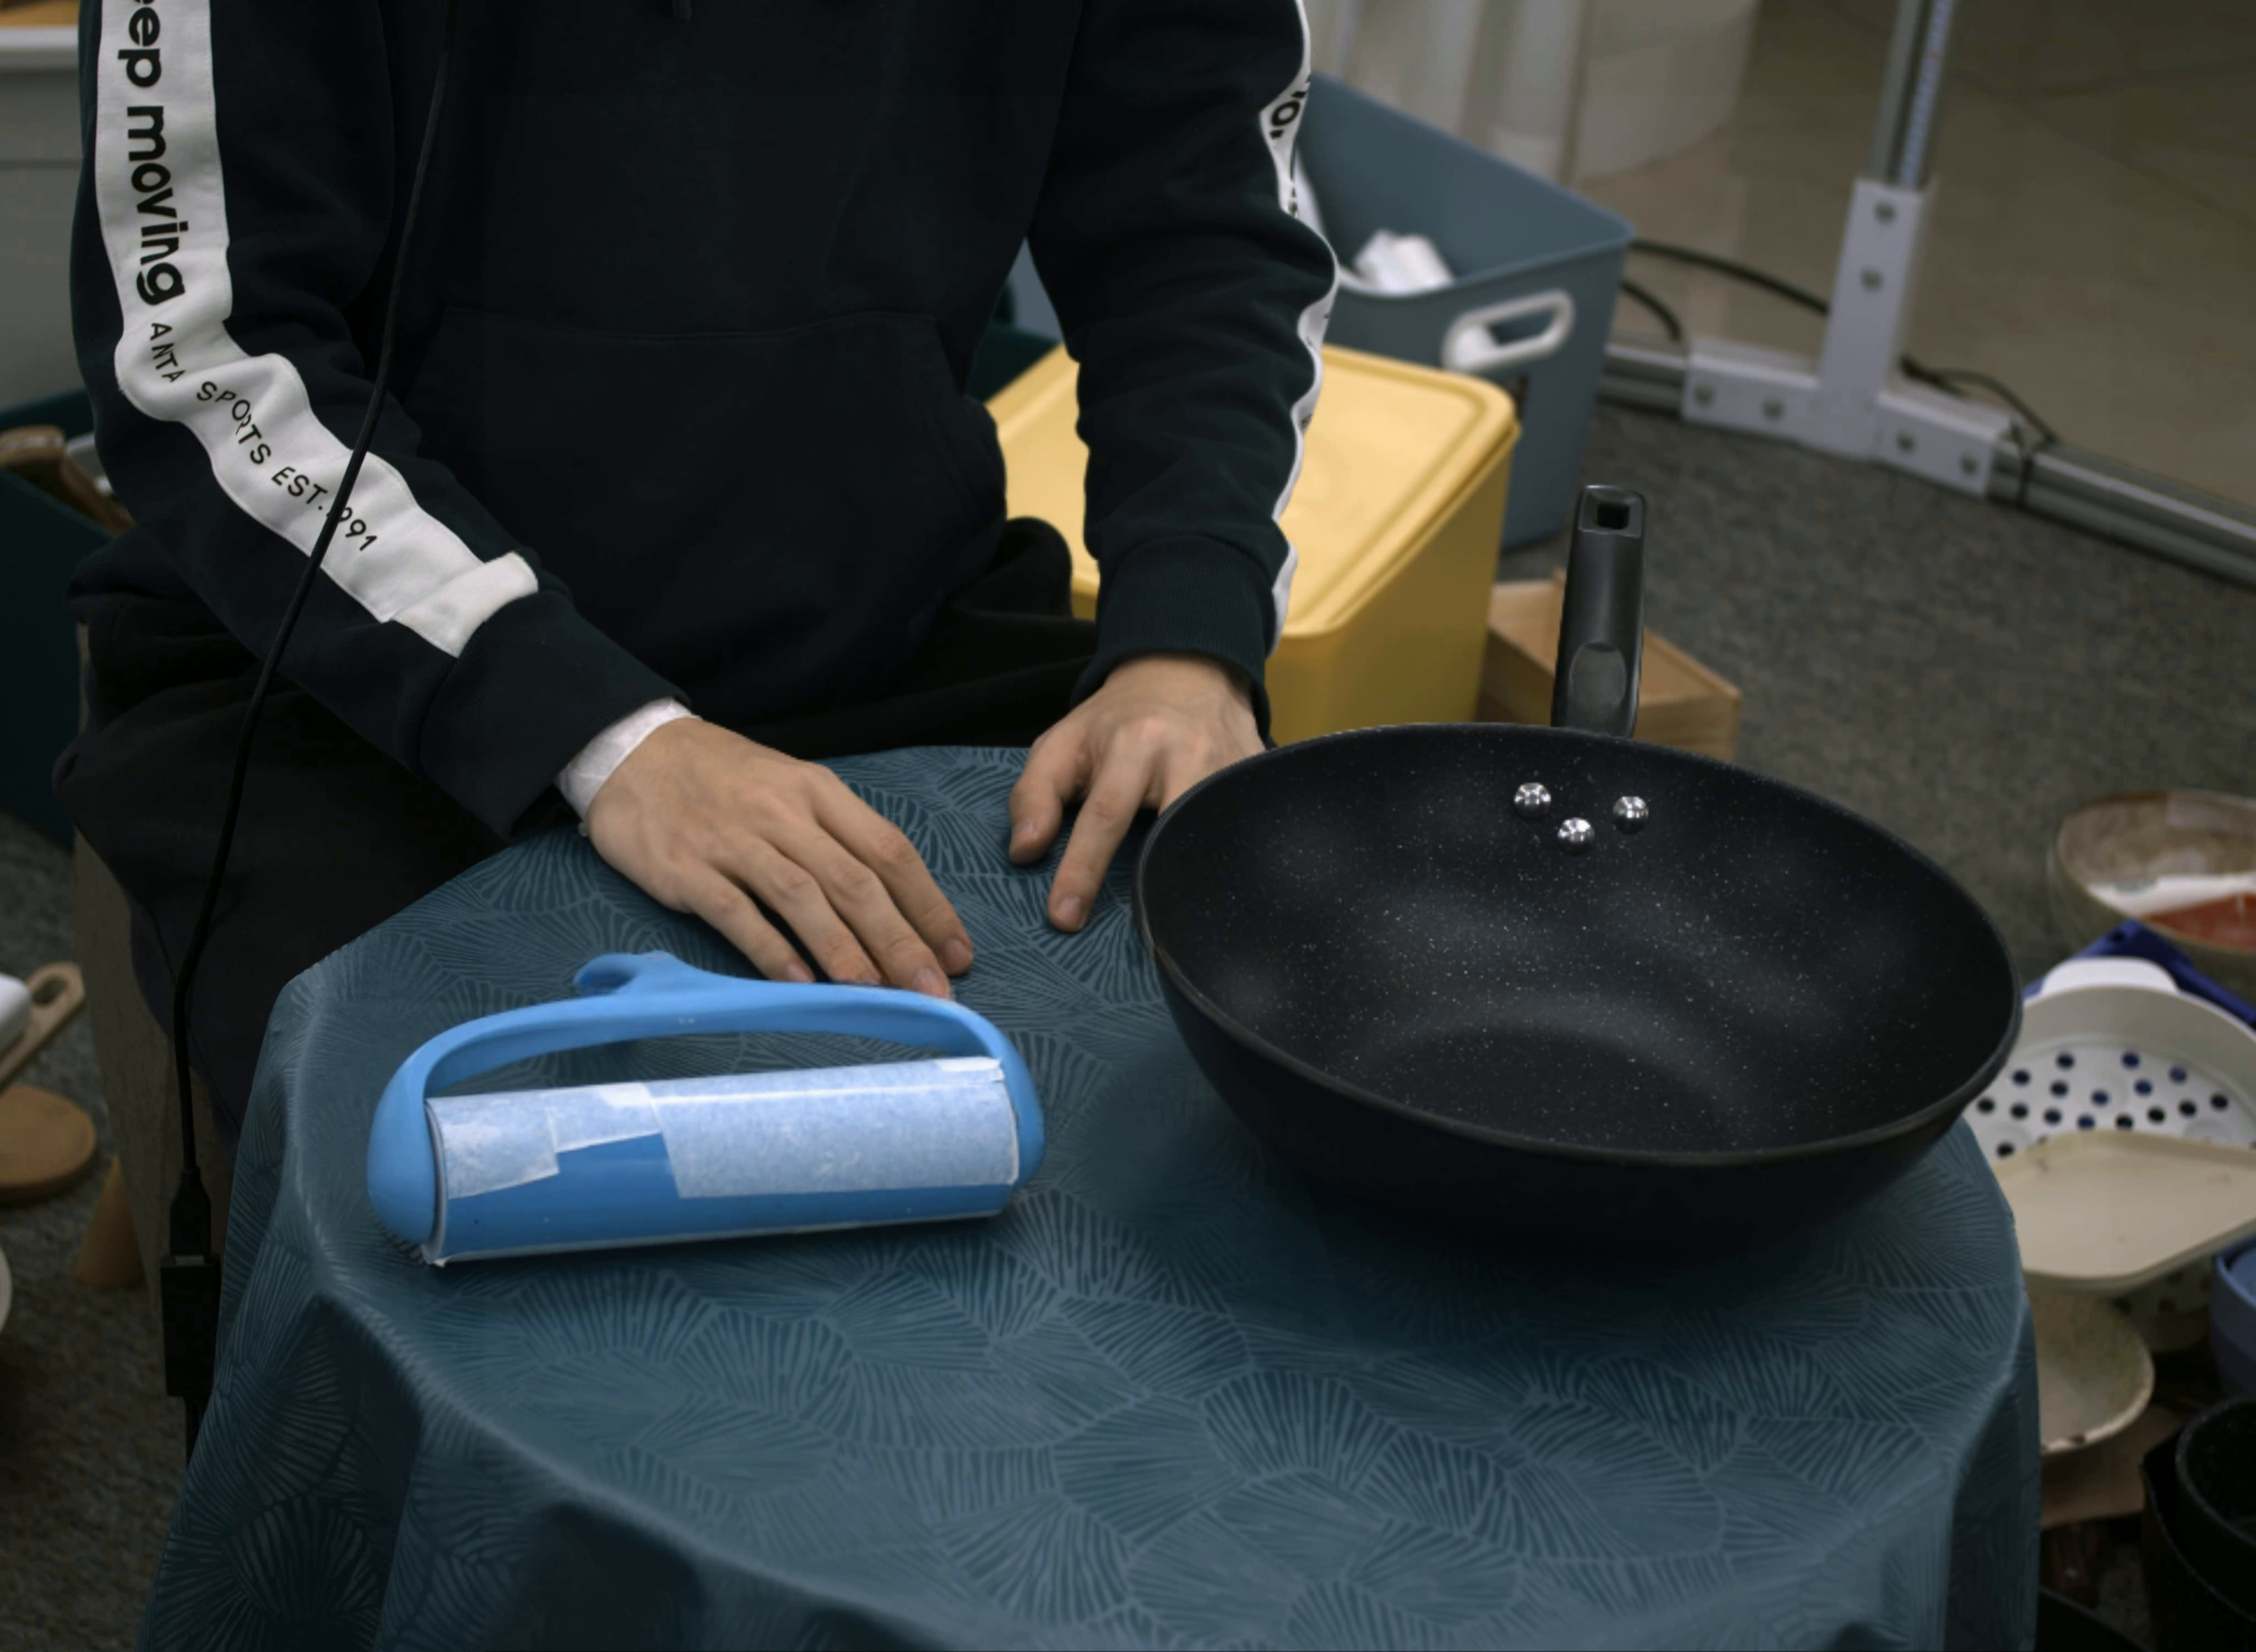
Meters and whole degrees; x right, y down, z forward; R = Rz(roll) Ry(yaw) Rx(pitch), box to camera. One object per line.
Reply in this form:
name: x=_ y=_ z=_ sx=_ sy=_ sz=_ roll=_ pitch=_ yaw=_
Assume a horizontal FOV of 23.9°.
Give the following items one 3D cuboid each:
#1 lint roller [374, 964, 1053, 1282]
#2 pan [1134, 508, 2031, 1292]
lint roller: x=-0.155 y=0.082 z=1.785 sx=0.227 sy=0.067 sz=0.182 roll=-7 pitch=32 yaw=-21
pan: x=0.160 y=0.029 z=1.904 sx=0.309 sy=0.111 sz=0.479 roll=9 pitch=27 yaw=2
